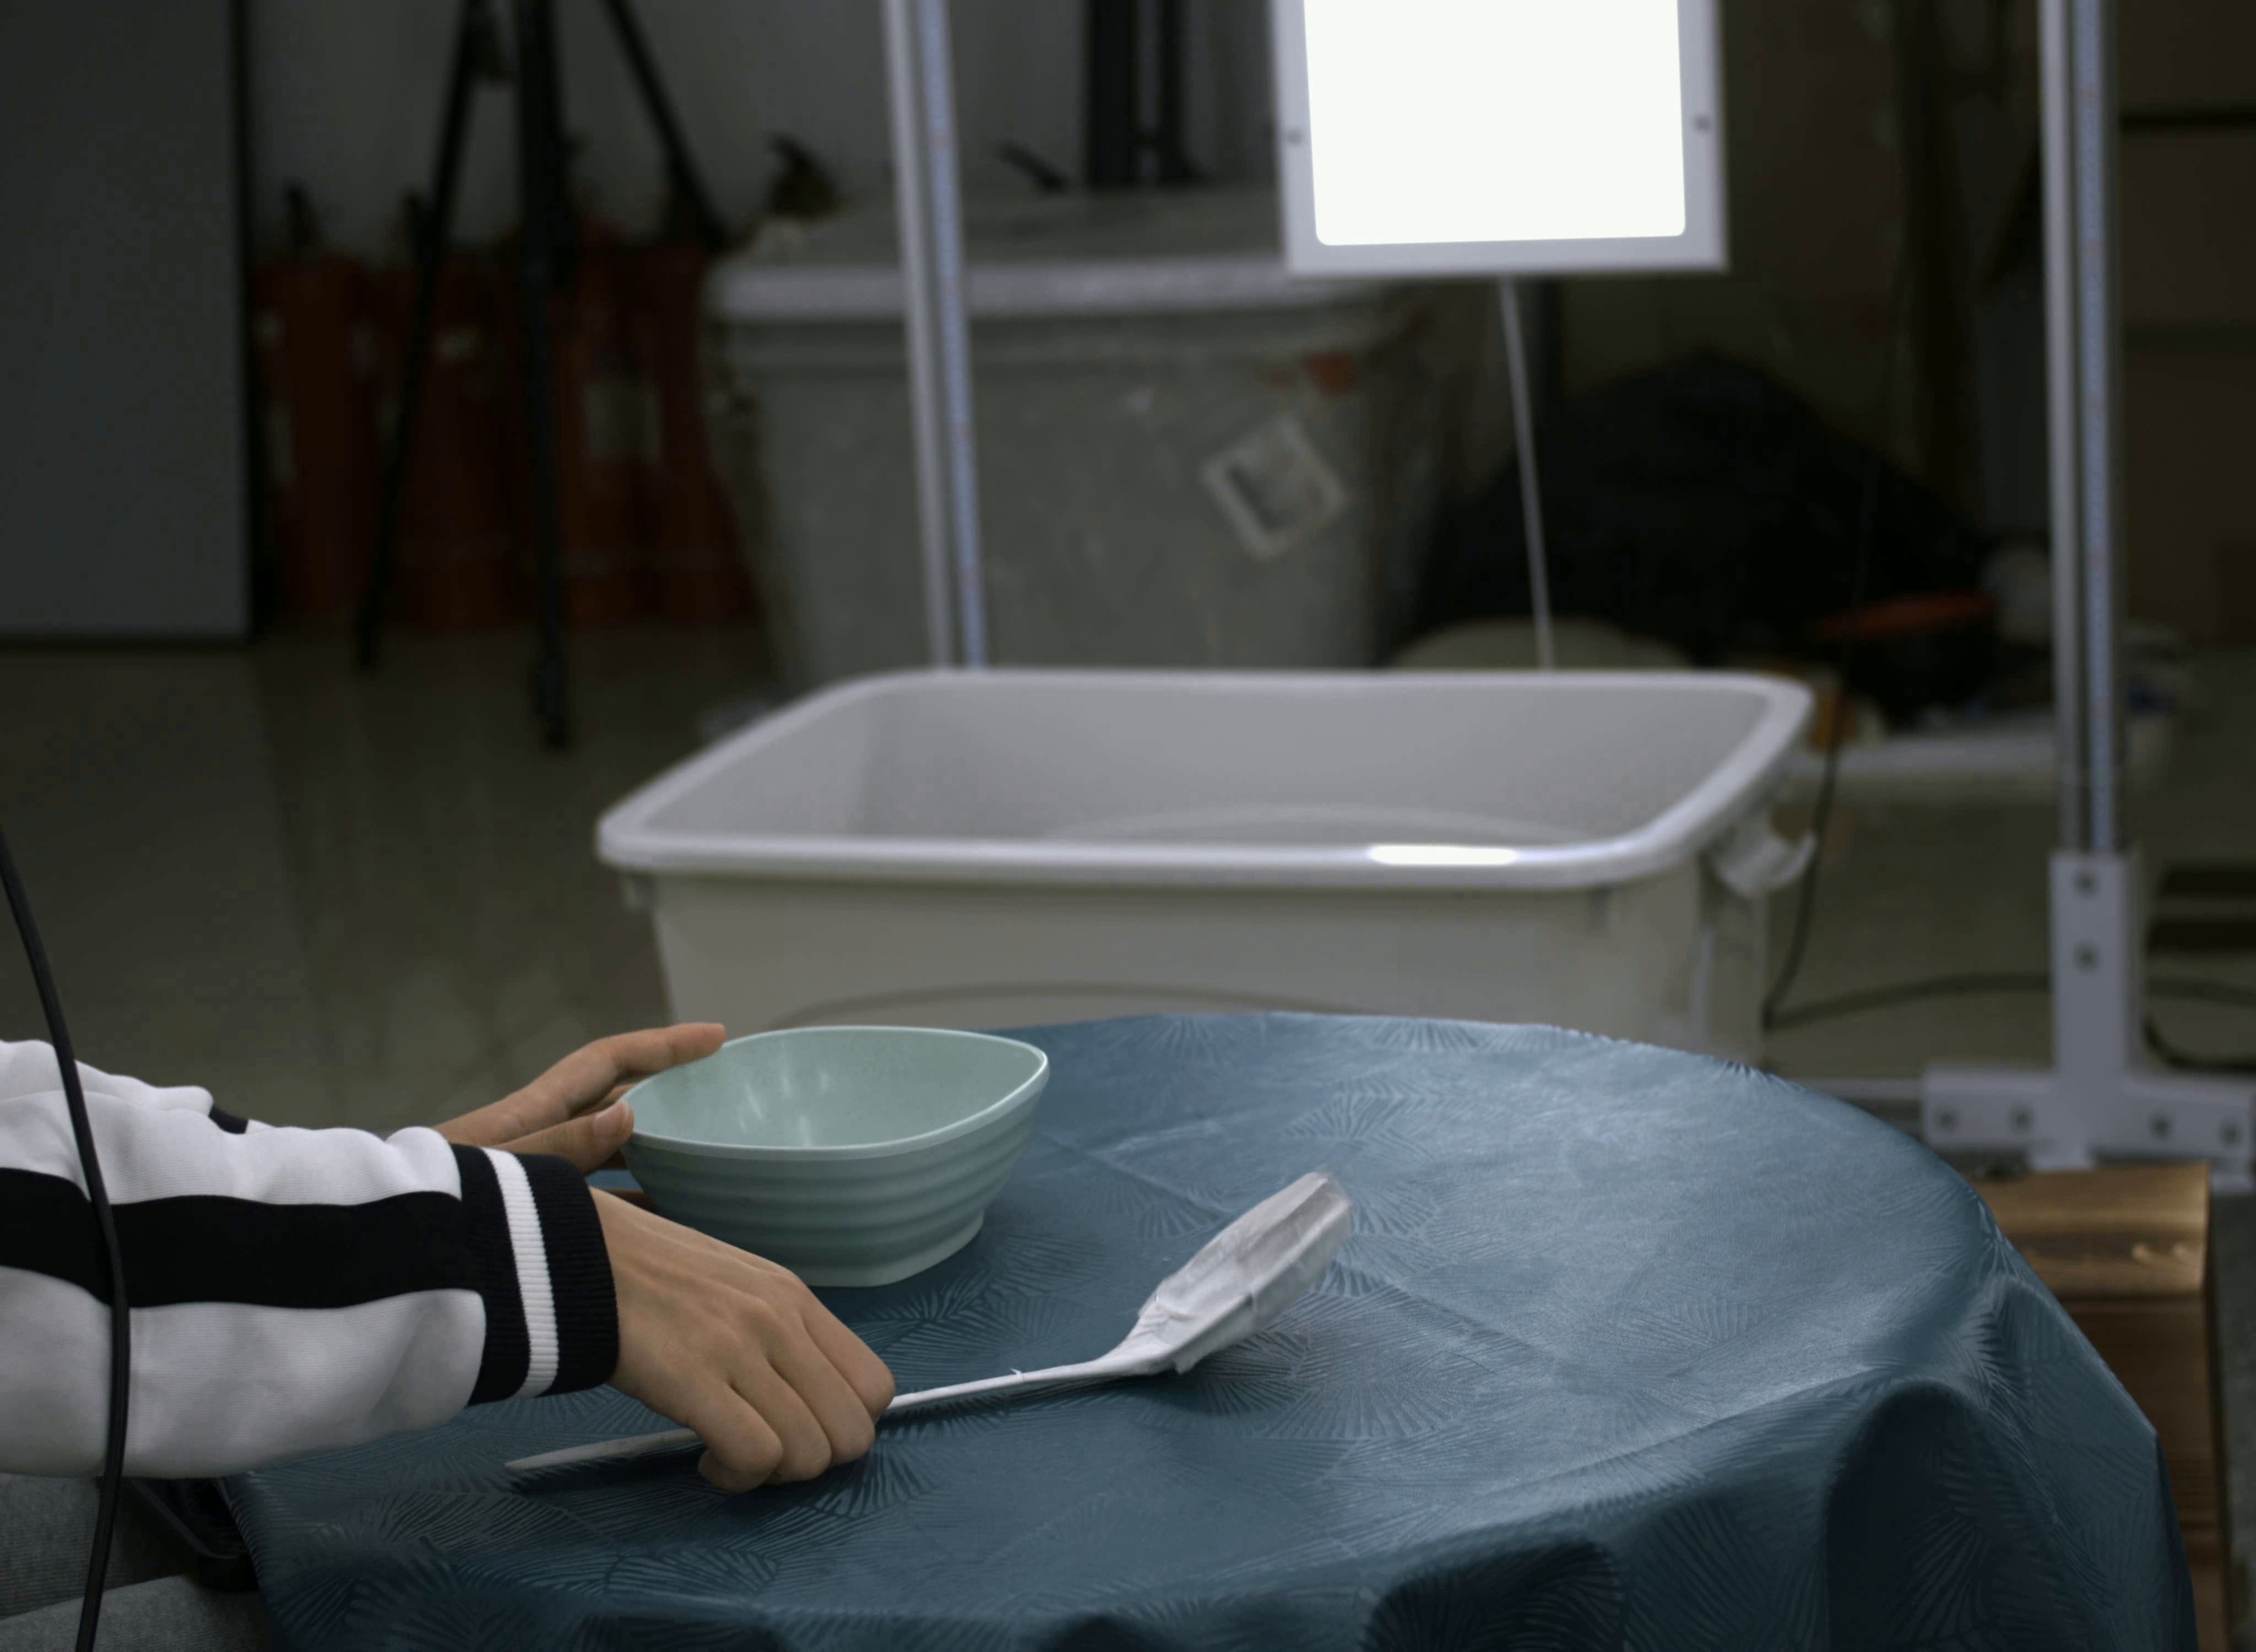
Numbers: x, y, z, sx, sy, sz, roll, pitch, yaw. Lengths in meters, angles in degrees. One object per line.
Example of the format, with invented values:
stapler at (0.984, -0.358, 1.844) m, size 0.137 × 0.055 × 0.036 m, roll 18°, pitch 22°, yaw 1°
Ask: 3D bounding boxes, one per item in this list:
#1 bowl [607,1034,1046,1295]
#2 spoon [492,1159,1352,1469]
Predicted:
bowl at (-0.099, 0.117, 1.861) m, size 0.151 × 0.059 × 0.151 m, roll -5°, pitch 14°, yaw 0°
spoon at (-0.063, 0.150, 1.705) m, size 0.274 × 0.059 × 0.101 m, roll -7°, pitch -1°, yaw -9°
